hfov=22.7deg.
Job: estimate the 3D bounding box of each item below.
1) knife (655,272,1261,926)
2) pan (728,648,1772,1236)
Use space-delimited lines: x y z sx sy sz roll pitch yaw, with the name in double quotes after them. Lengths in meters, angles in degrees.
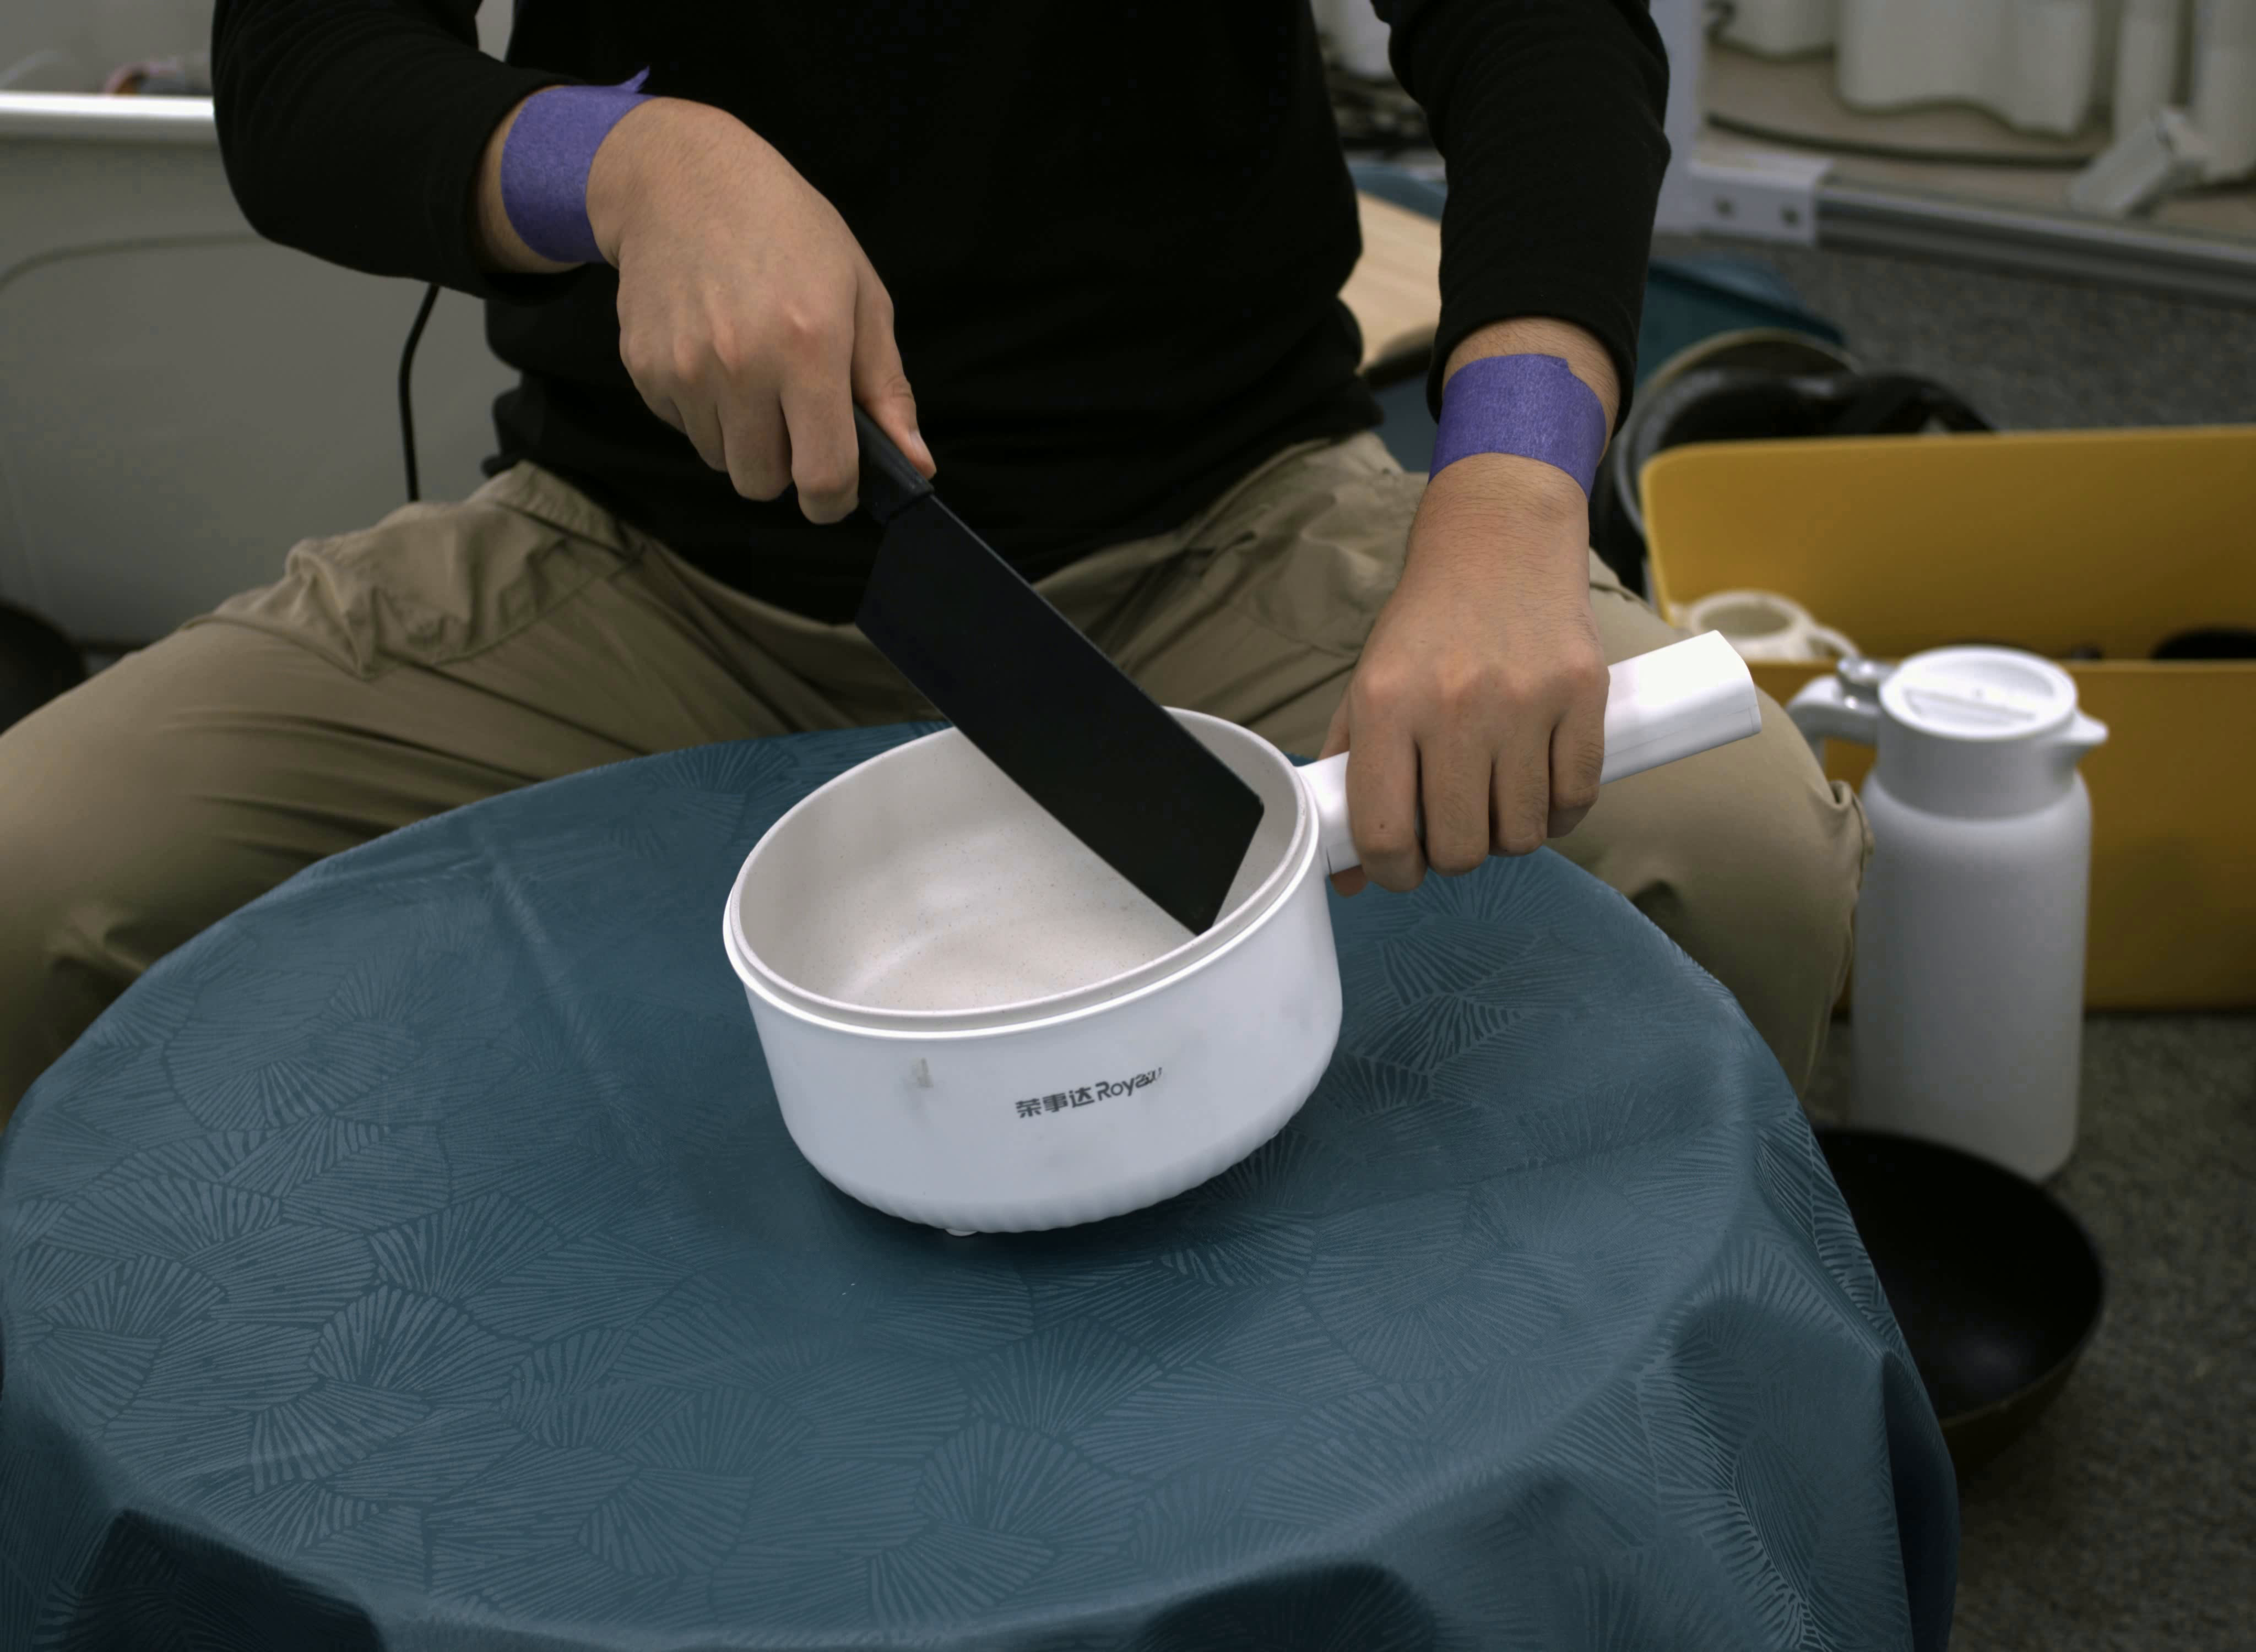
-0.062 -0.081 1.876 0.021 0.079 0.304 -17 55 -44 "knife"
0.046 0.032 1.886 0.355 0.101 0.203 -16 28 -9 "pan"
